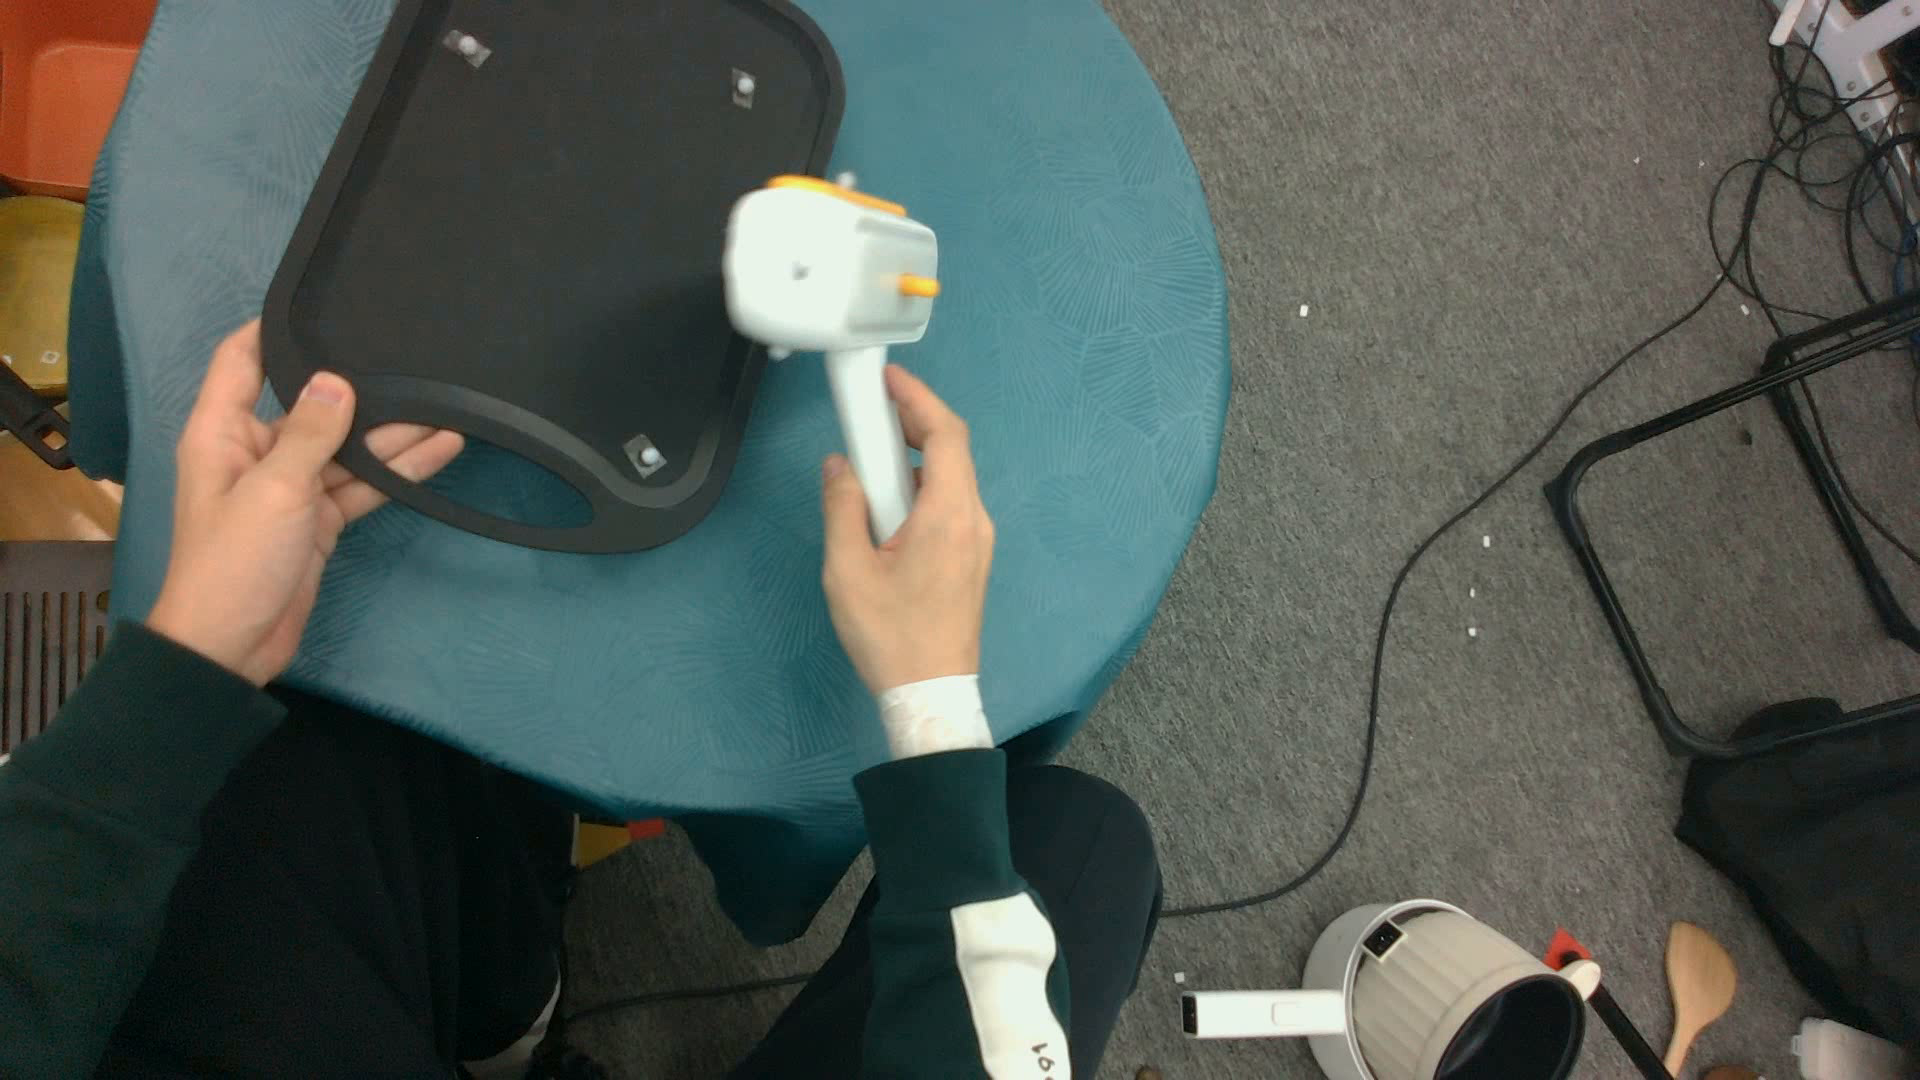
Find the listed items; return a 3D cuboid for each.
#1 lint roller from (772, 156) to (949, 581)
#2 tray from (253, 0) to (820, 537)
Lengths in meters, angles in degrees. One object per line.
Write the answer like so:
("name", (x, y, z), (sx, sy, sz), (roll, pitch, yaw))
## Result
("lint roller", (-0.045, -0.075, 0.639), (0.074, 0.193, 0.192), (2, 102, -4))
("tray", (-0.184, -0.162, 0.651), (0.211, 0.010, 0.326), (24, 68, -29))
